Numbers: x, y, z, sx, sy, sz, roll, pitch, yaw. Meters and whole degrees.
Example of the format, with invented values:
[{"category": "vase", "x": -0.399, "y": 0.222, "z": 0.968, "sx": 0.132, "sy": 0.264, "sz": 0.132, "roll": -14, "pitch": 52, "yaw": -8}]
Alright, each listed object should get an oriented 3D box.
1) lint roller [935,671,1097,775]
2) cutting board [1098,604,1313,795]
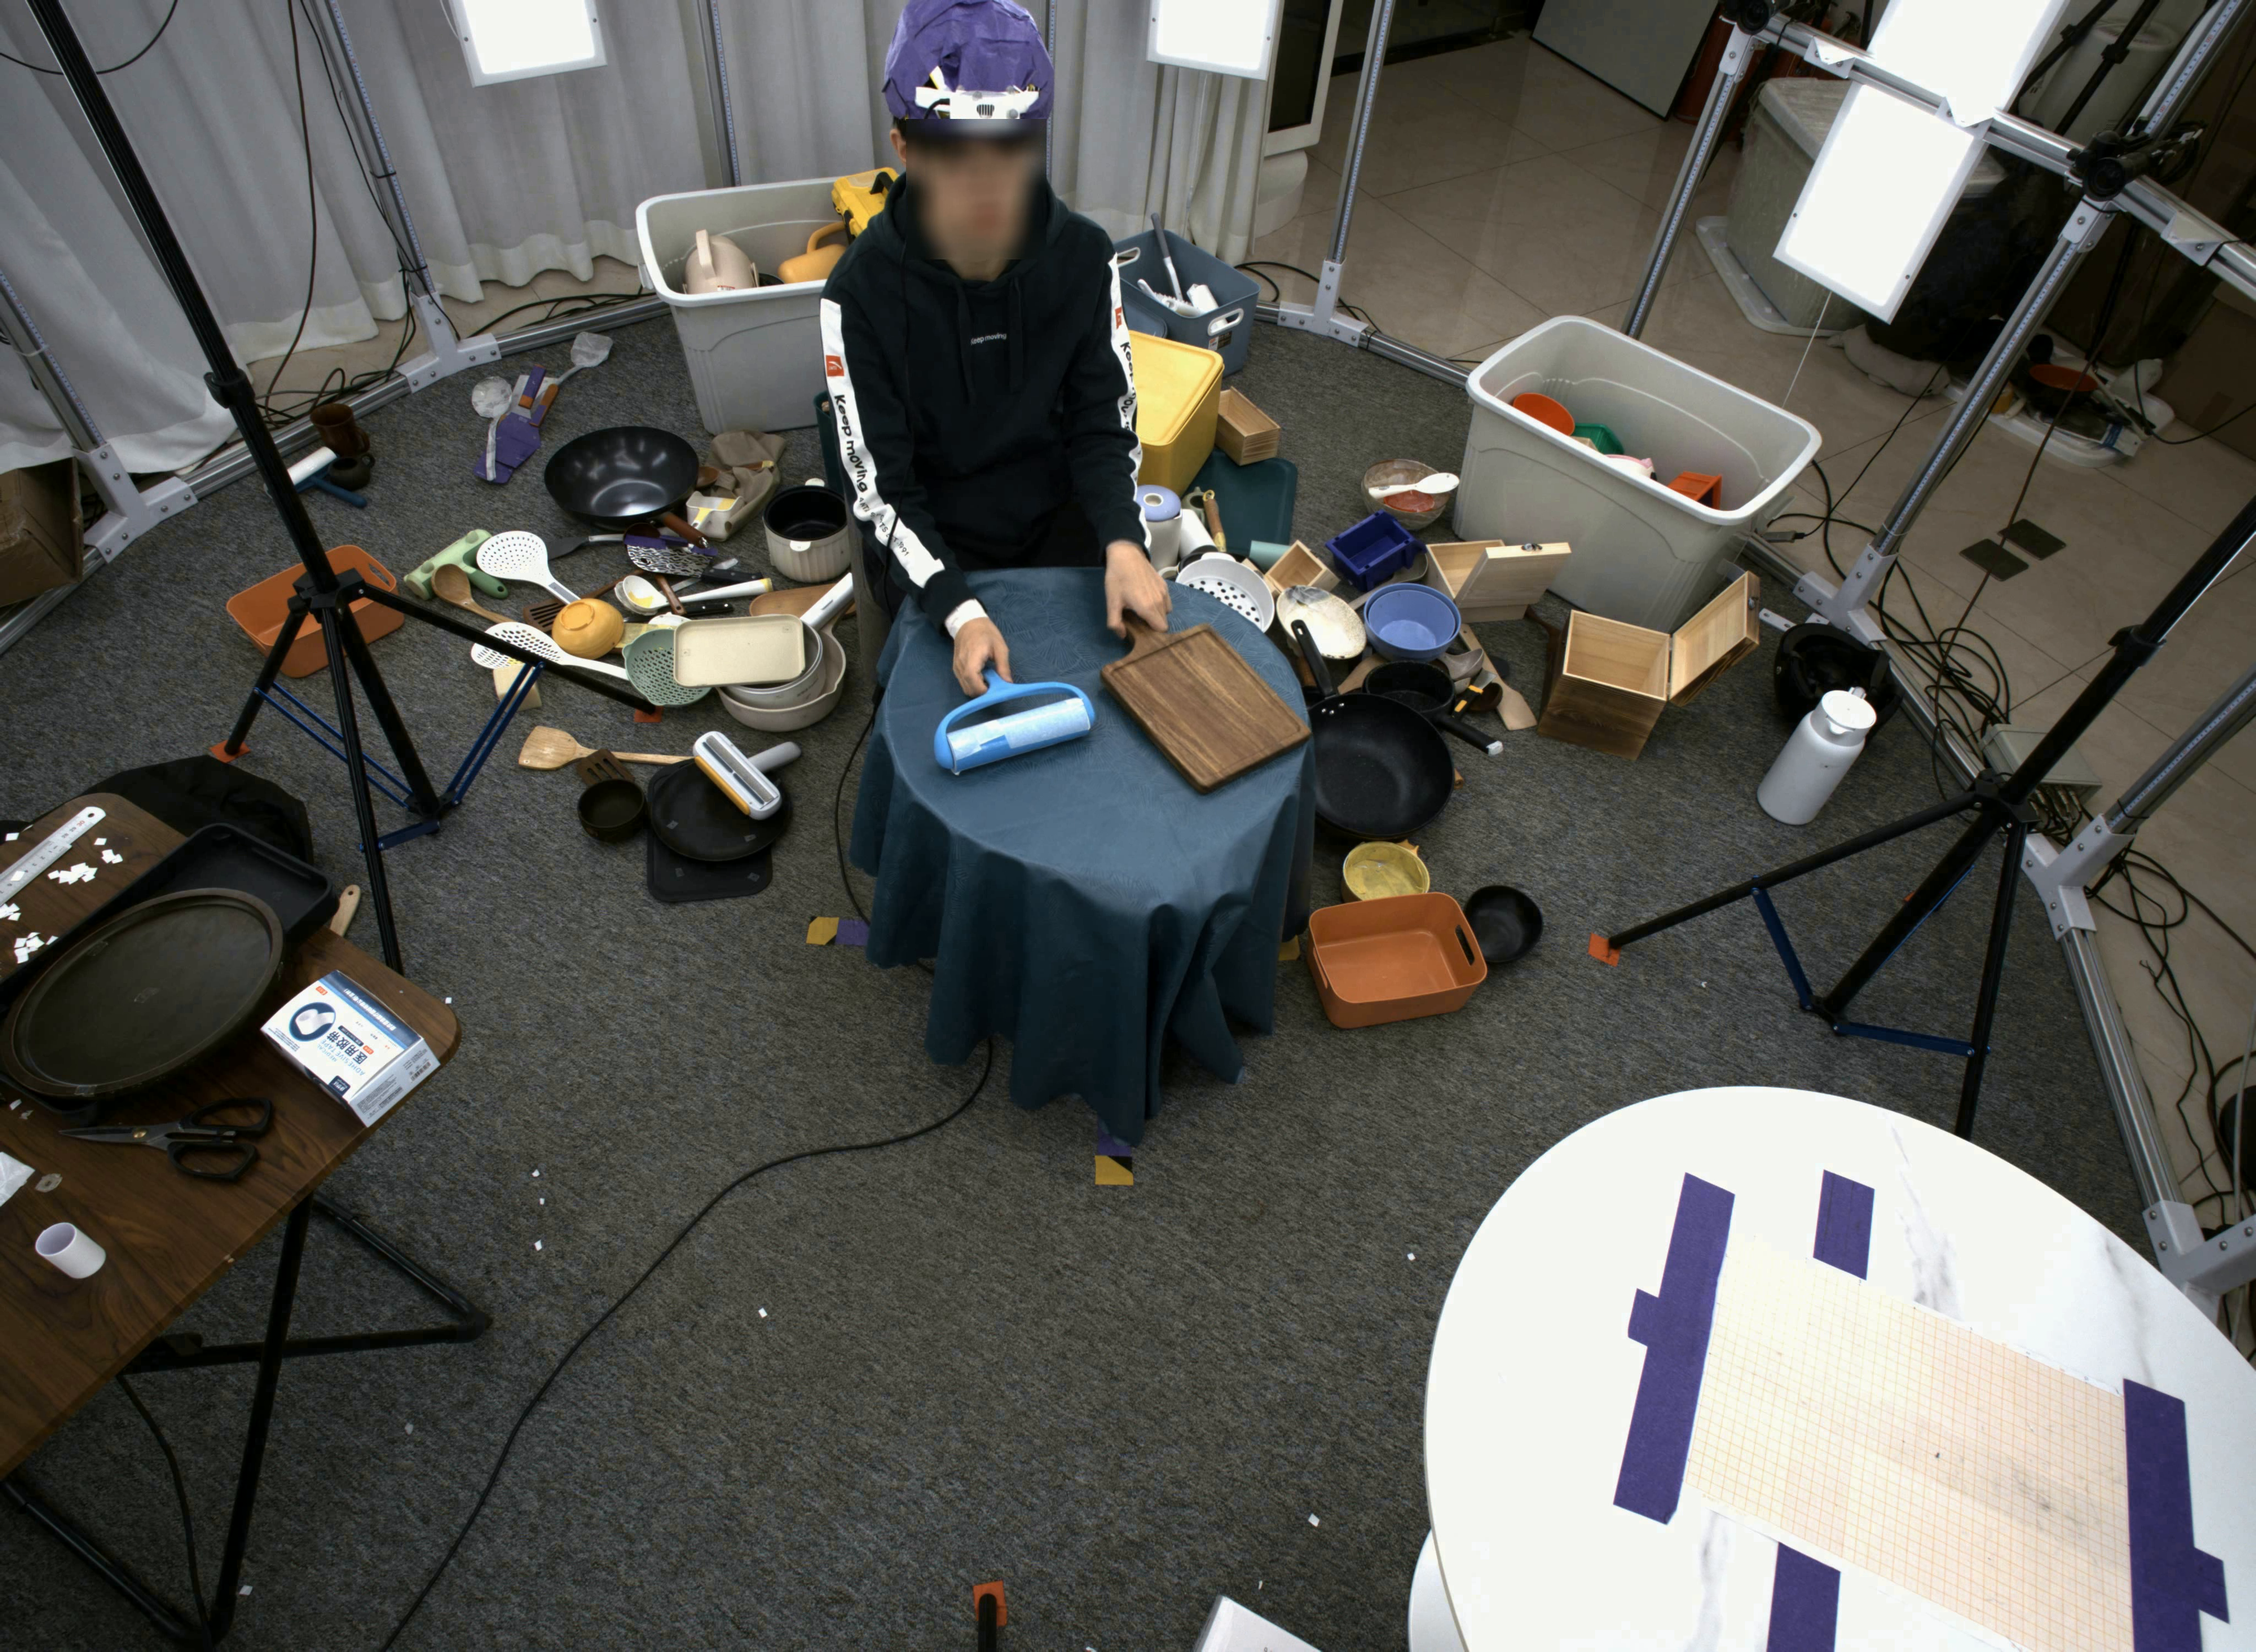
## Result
[{"category": "lint roller", "x": -0.176, "y": -0.166, "z": 1.762, "sx": 0.229, "sy": 0.066, "sz": 0.184, "roll": -21, "pitch": 55, "yaw": -18}, {"category": "cutting board", "x": 0.078, "y": -0.203, "z": 1.823, "sx": 0.202, "sy": 0.022, "sz": 0.358, "roll": -27, "pitch": 59, "yaw": -25}]
